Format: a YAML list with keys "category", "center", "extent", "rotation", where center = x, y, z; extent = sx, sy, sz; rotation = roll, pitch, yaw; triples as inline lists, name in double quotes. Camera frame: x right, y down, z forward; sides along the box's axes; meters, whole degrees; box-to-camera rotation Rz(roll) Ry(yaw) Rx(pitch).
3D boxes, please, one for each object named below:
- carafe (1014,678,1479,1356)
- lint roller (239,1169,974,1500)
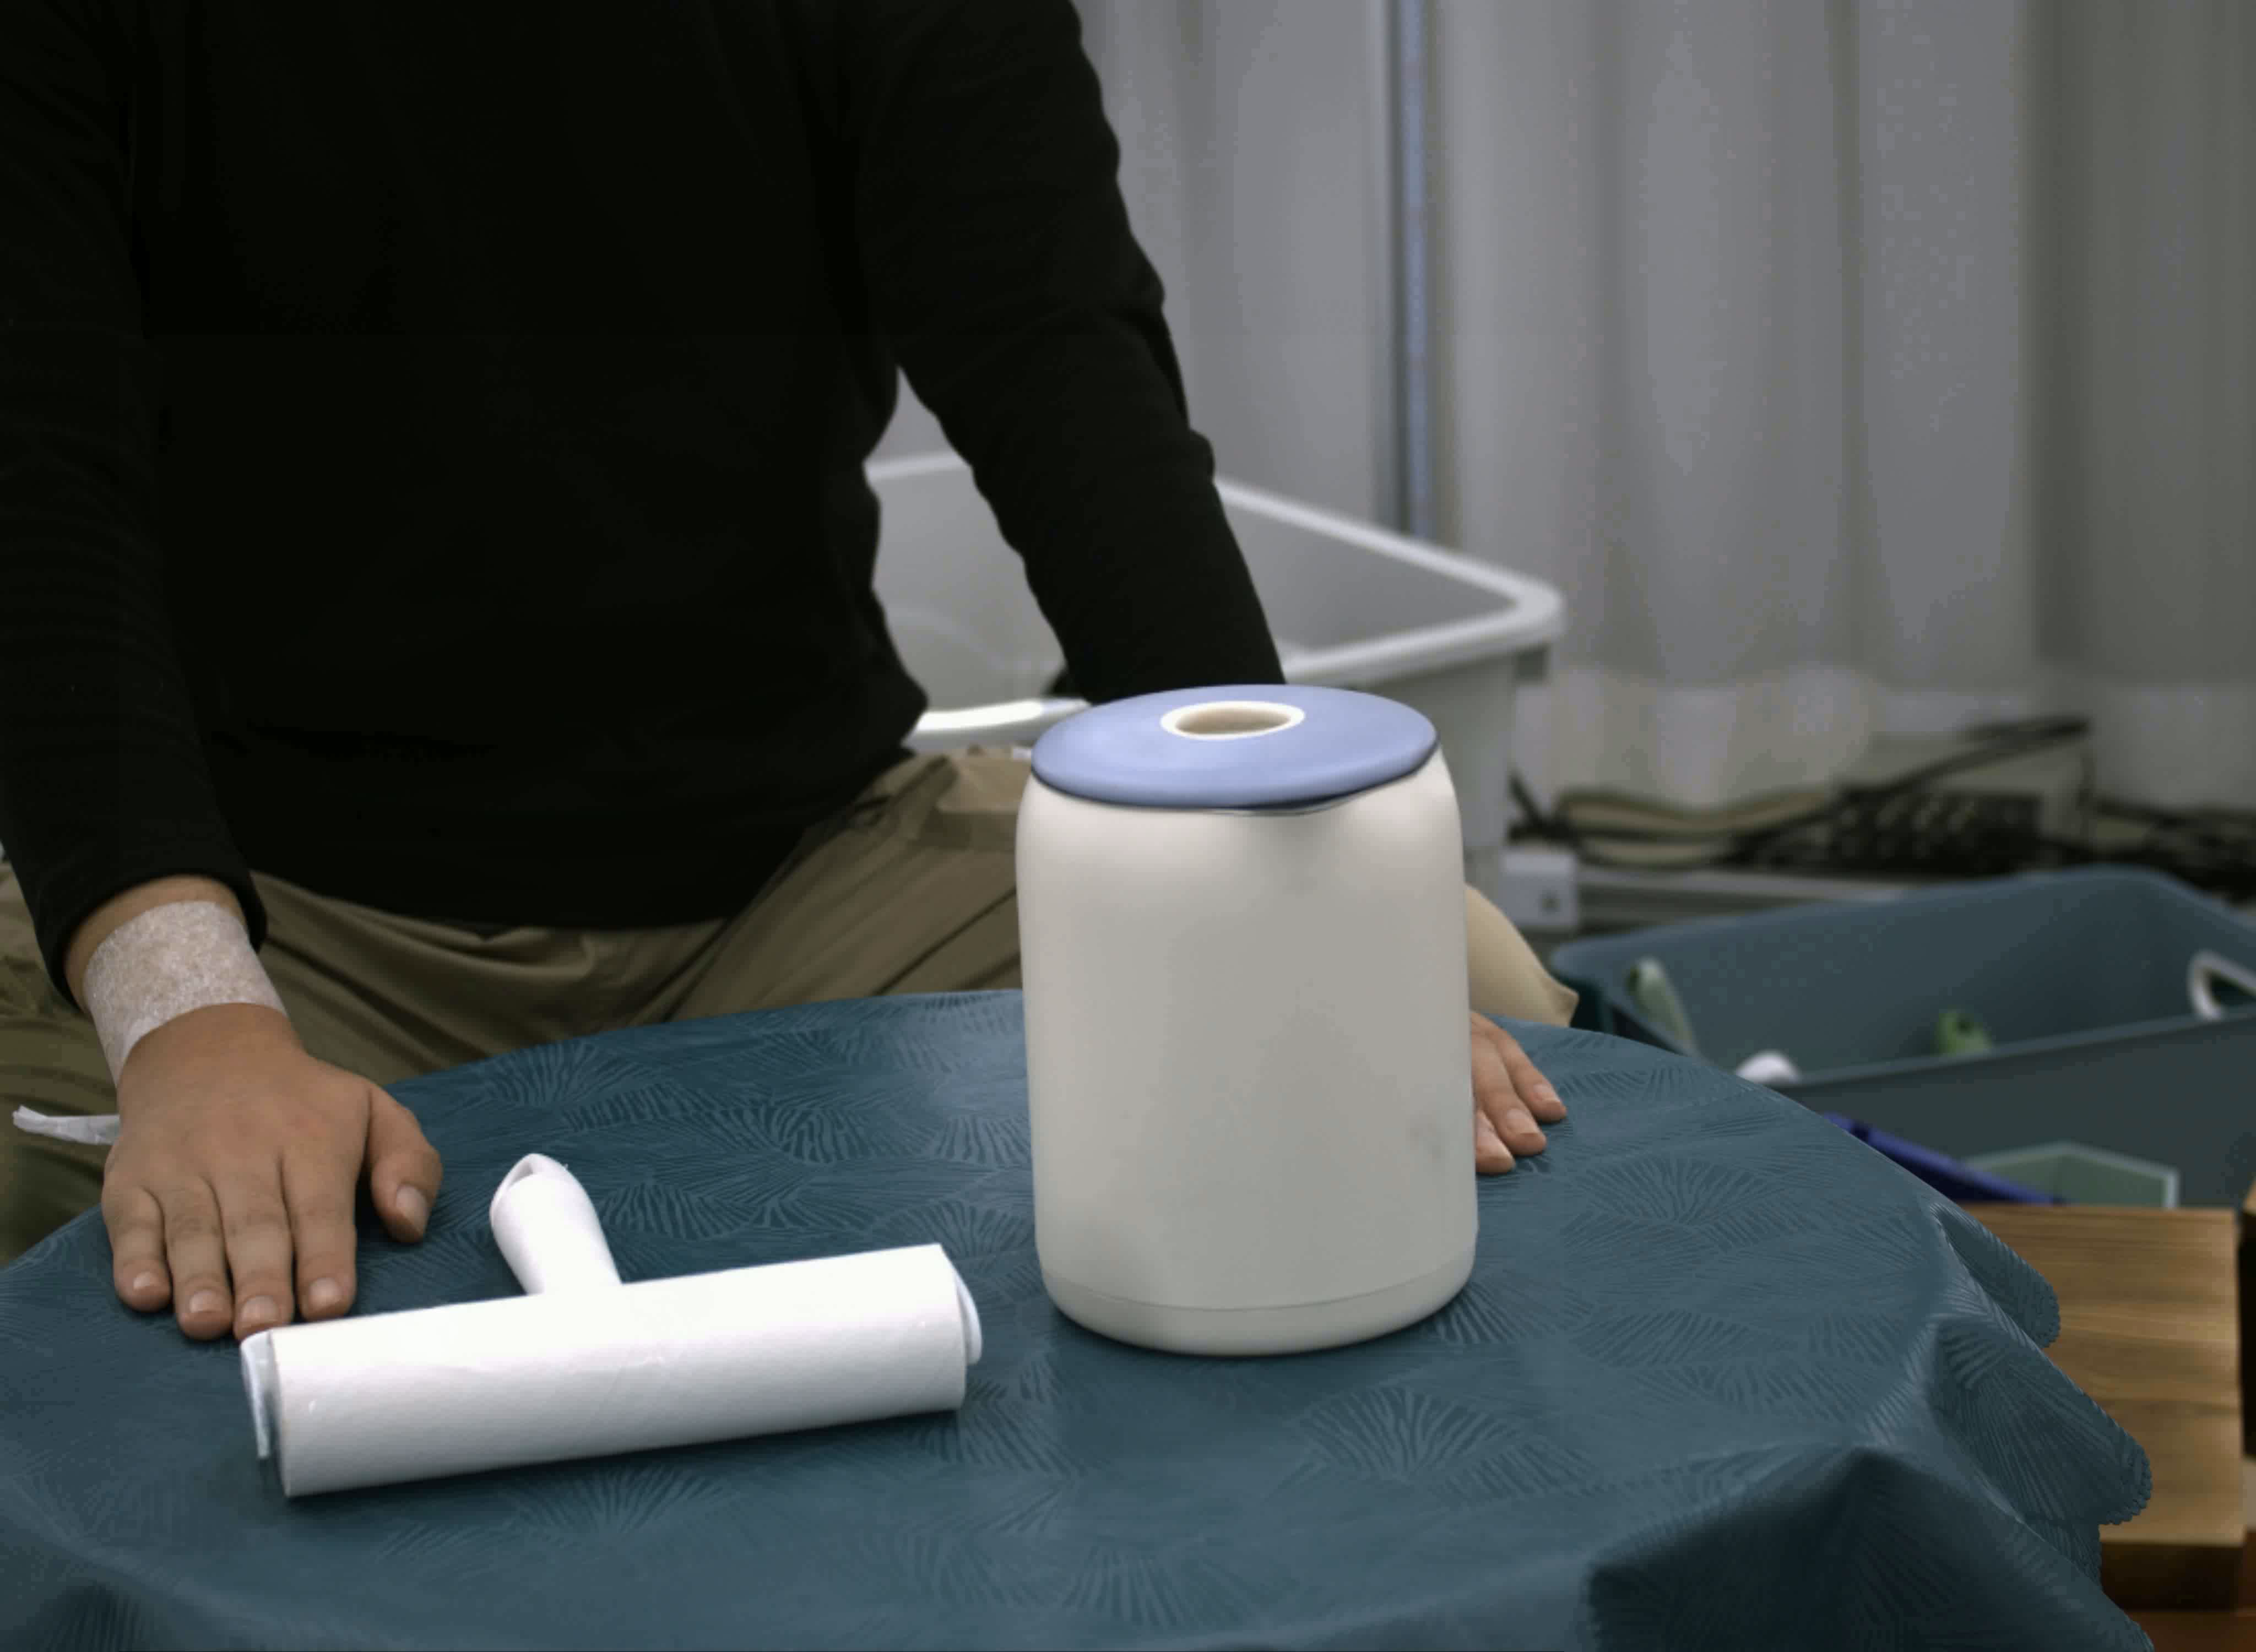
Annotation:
- category: "carafe"
  center: [0.028, 0.049, 1.623]
  extent: [0.131, 0.182, 0.192]
  rotation: [-6, 12, -16]
- category: "lint roller"
  center: [-0.164, 0.131, 1.602]
  extent: [0.202, 0.048, 0.227]
  rotation: [-8, 14, -13]
